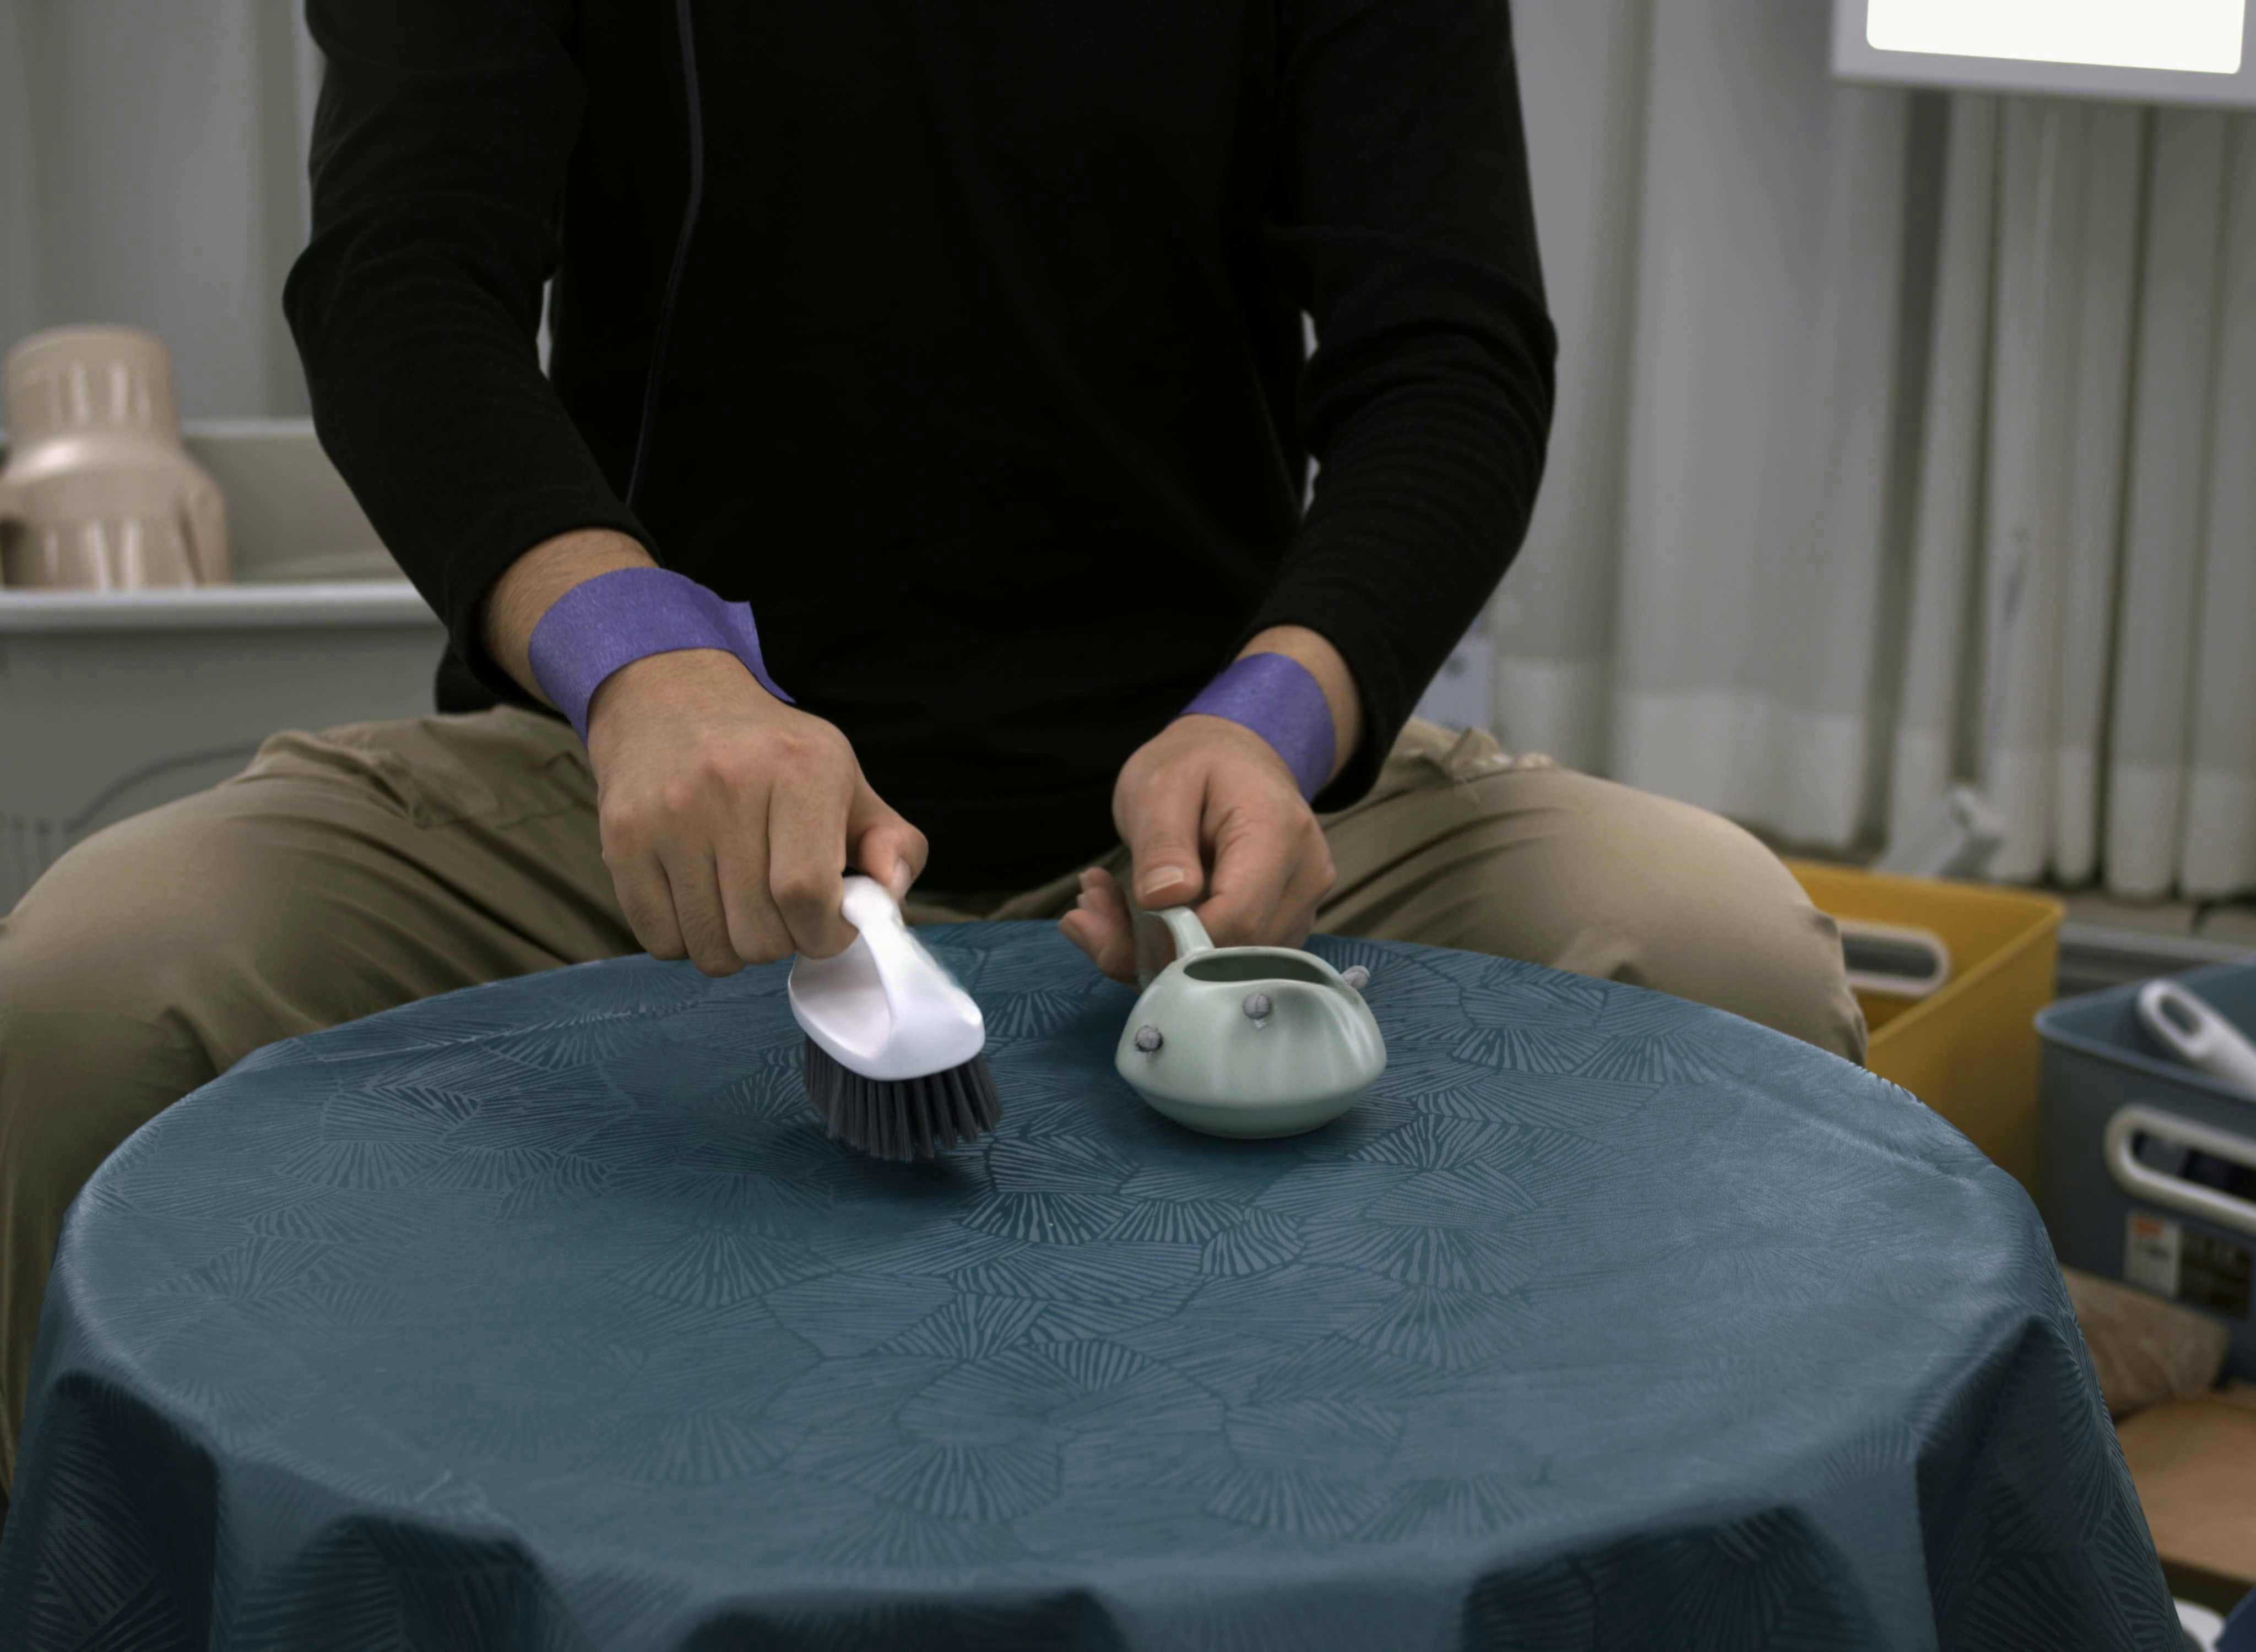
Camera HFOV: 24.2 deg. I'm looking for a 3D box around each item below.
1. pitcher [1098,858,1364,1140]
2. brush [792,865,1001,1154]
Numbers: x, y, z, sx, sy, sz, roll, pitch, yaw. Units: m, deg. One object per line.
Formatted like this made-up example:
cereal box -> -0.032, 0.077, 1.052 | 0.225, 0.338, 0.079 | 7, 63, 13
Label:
pitcher -> 0.029, 0.057, 1.702 | 0.086, 0.061, 0.106 | -14, 36, -11
brush -> -0.077, 0.051, 1.634 | 0.050, 0.073, 0.098 | -16, 23, -13
